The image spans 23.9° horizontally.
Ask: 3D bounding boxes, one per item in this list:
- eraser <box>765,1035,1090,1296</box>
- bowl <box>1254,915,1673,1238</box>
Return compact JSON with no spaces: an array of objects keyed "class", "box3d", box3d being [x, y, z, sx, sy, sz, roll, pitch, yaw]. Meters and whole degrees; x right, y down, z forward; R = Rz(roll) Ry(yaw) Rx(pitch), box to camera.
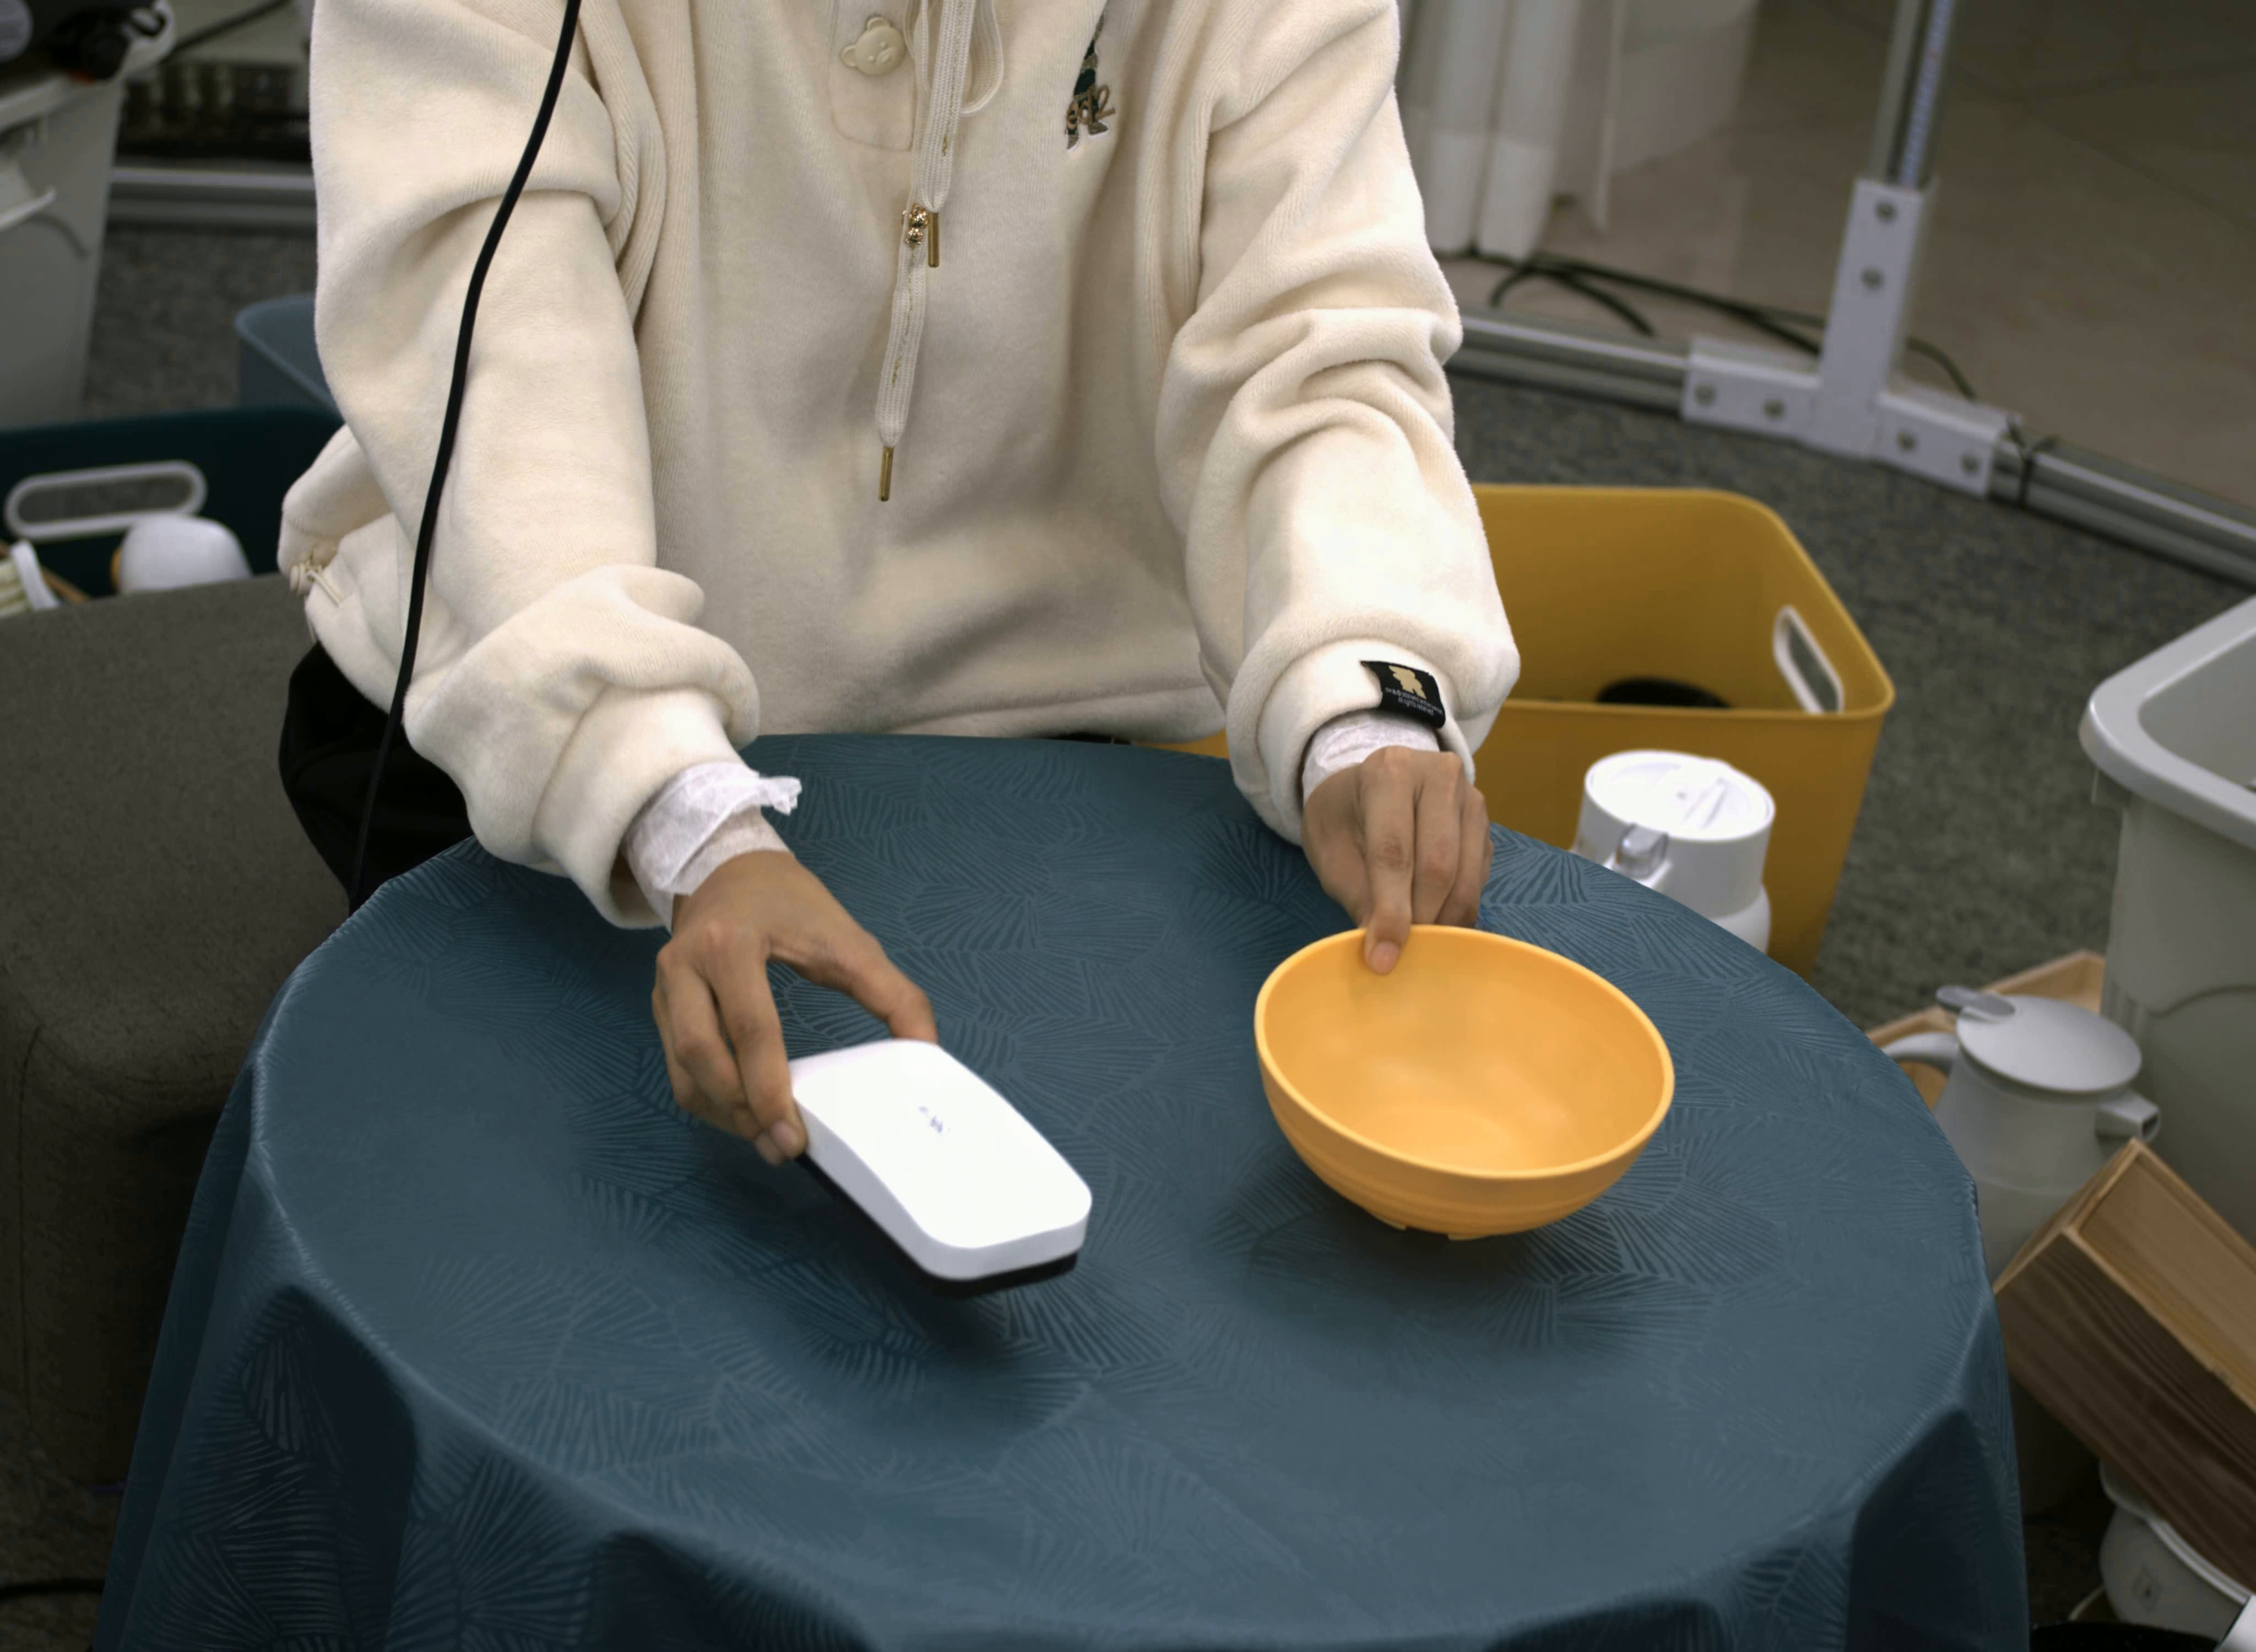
[{"class":"eraser","box3d":[-0.065,0.106,1.724,0.063,0.034,0.132,-11,30,-29]},{"class":"bowl","box3d":[0.109,0.097,1.808,0.145,0.060,0.146,7,35,-5]}]
